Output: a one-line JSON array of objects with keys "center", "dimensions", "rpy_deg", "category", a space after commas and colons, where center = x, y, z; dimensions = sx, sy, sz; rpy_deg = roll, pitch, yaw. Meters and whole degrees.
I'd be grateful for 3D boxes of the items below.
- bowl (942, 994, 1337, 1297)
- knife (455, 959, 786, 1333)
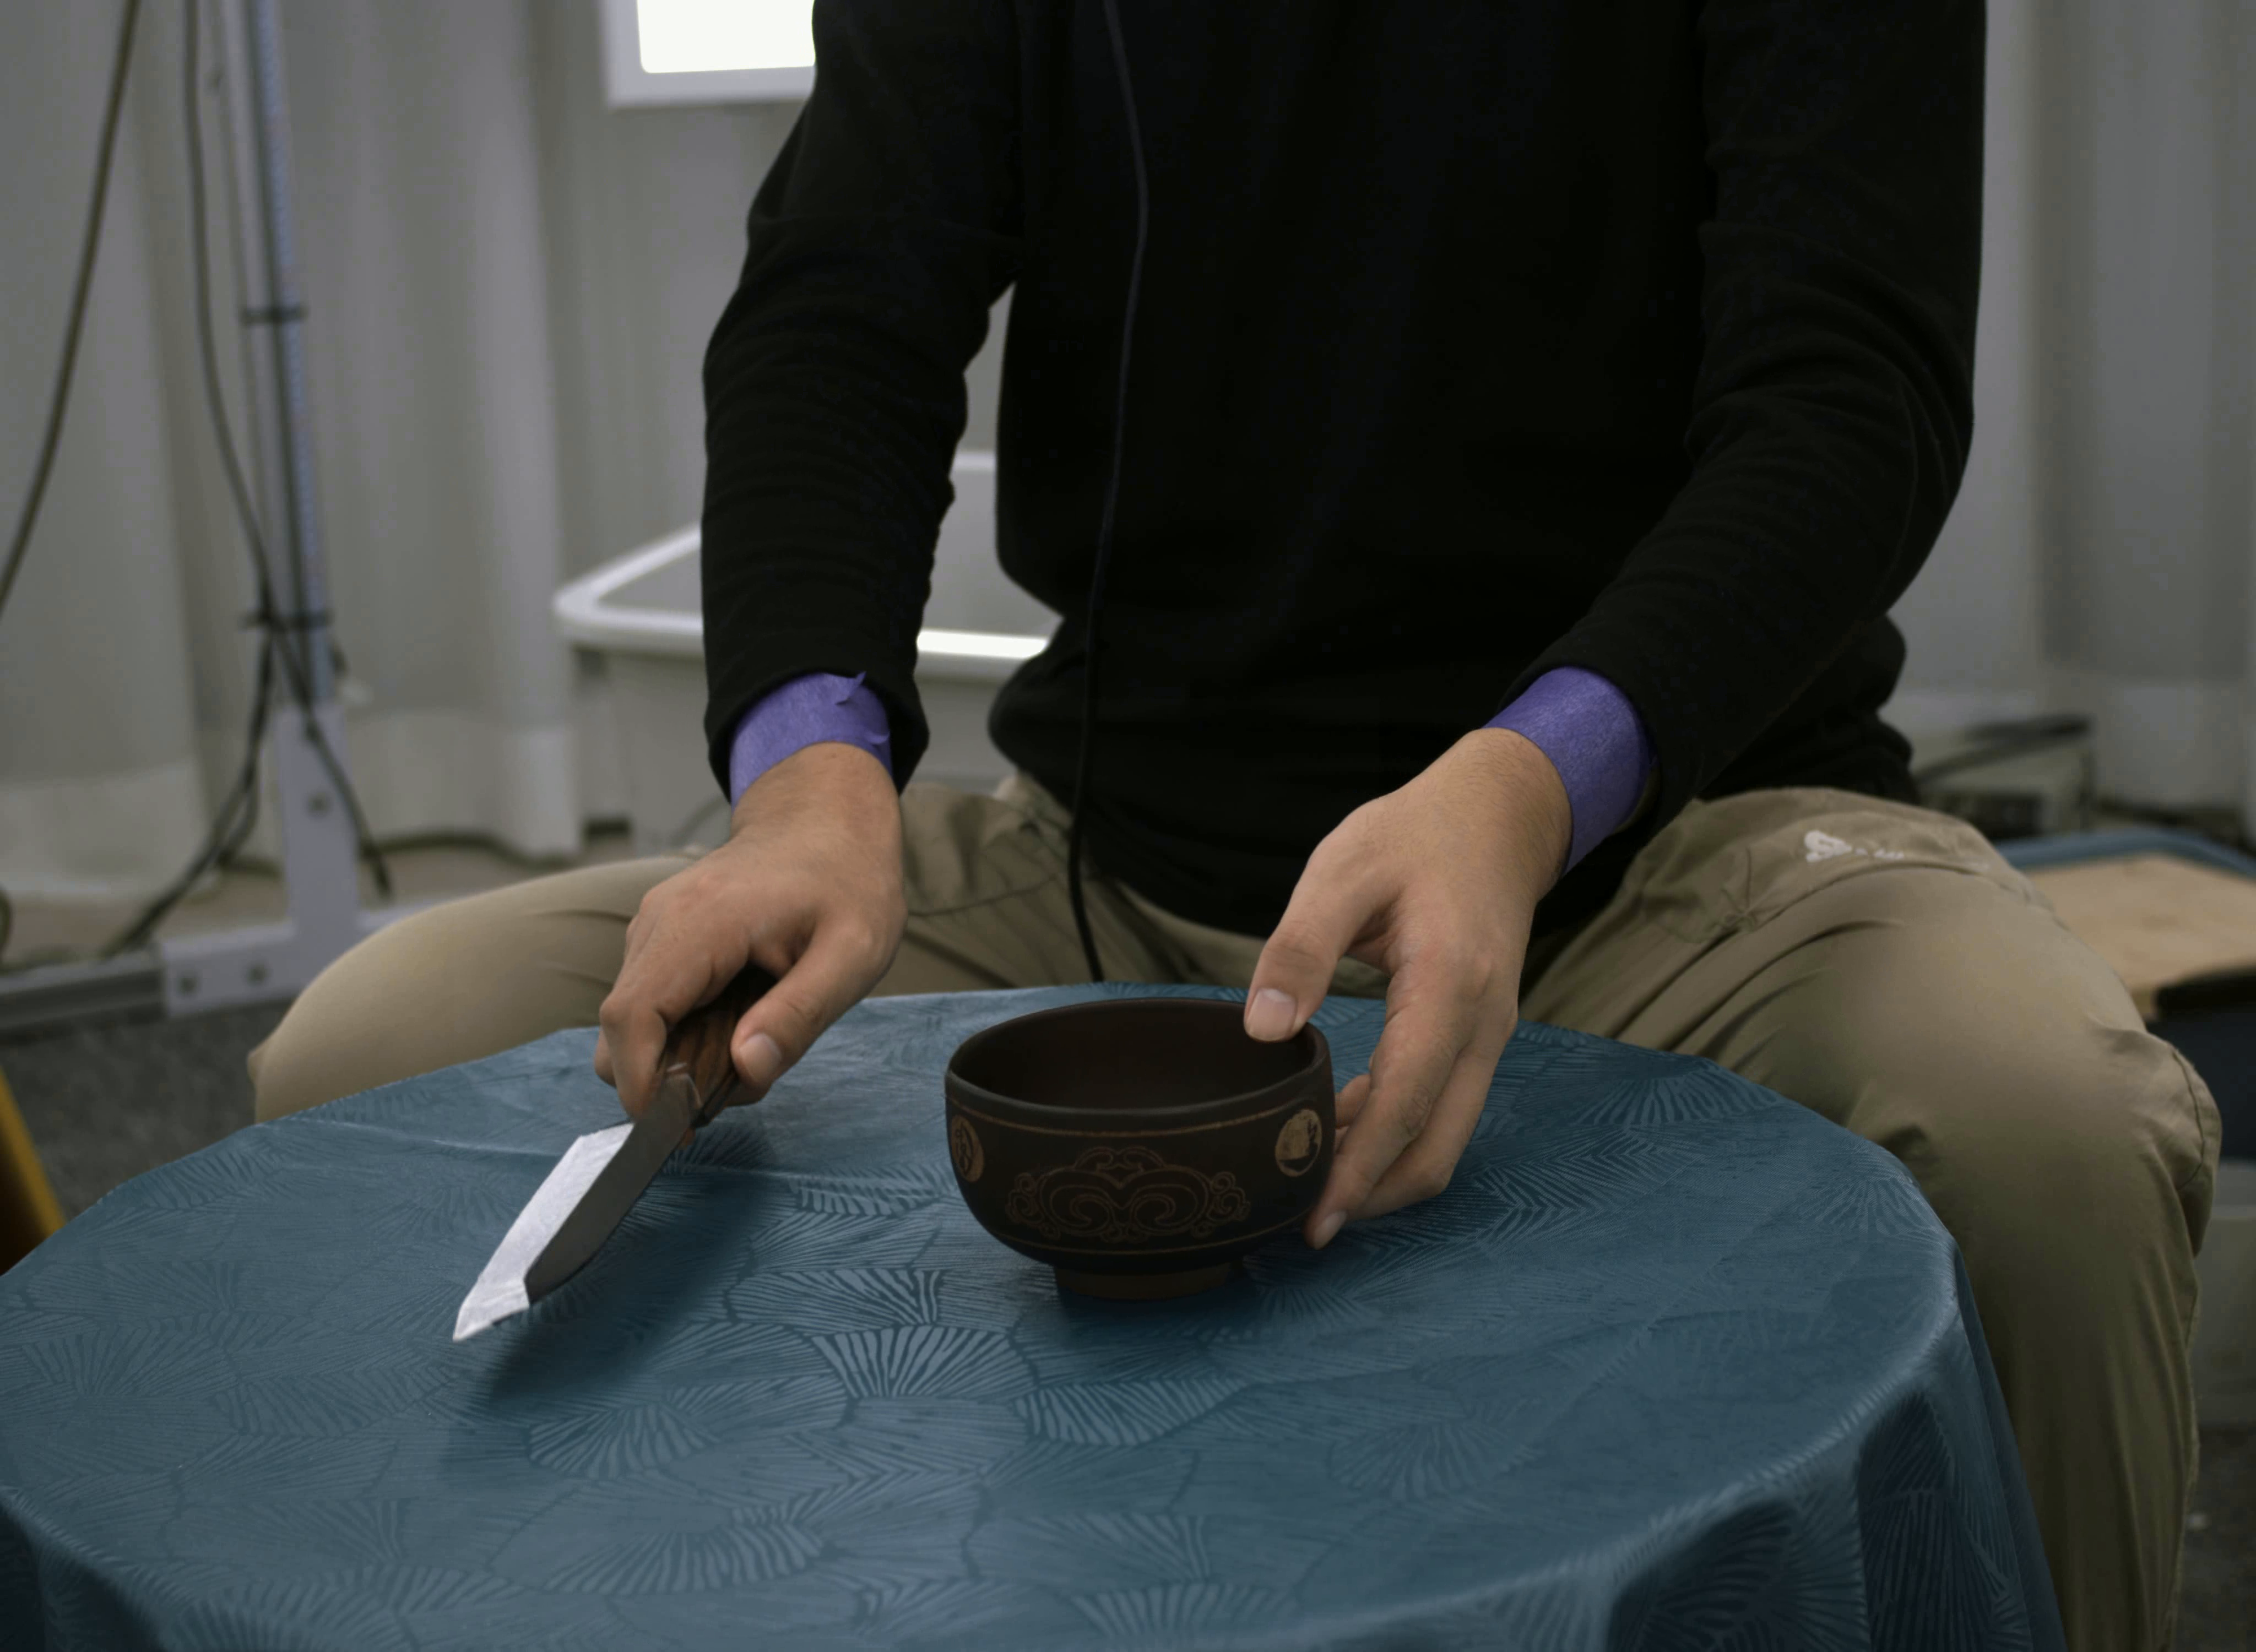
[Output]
[{"center": [0.004, 0.099, 1.634], "dimensions": [0.117, 0.069, 0.119], "rpy_deg": [-2, 14, 0], "category": "bowl"}, {"center": [-0.154, 0.098, 1.686], "dimensions": [0.050, 0.020, 0.291], "rpy_deg": [-17, 14, 18], "category": "knife"}]
